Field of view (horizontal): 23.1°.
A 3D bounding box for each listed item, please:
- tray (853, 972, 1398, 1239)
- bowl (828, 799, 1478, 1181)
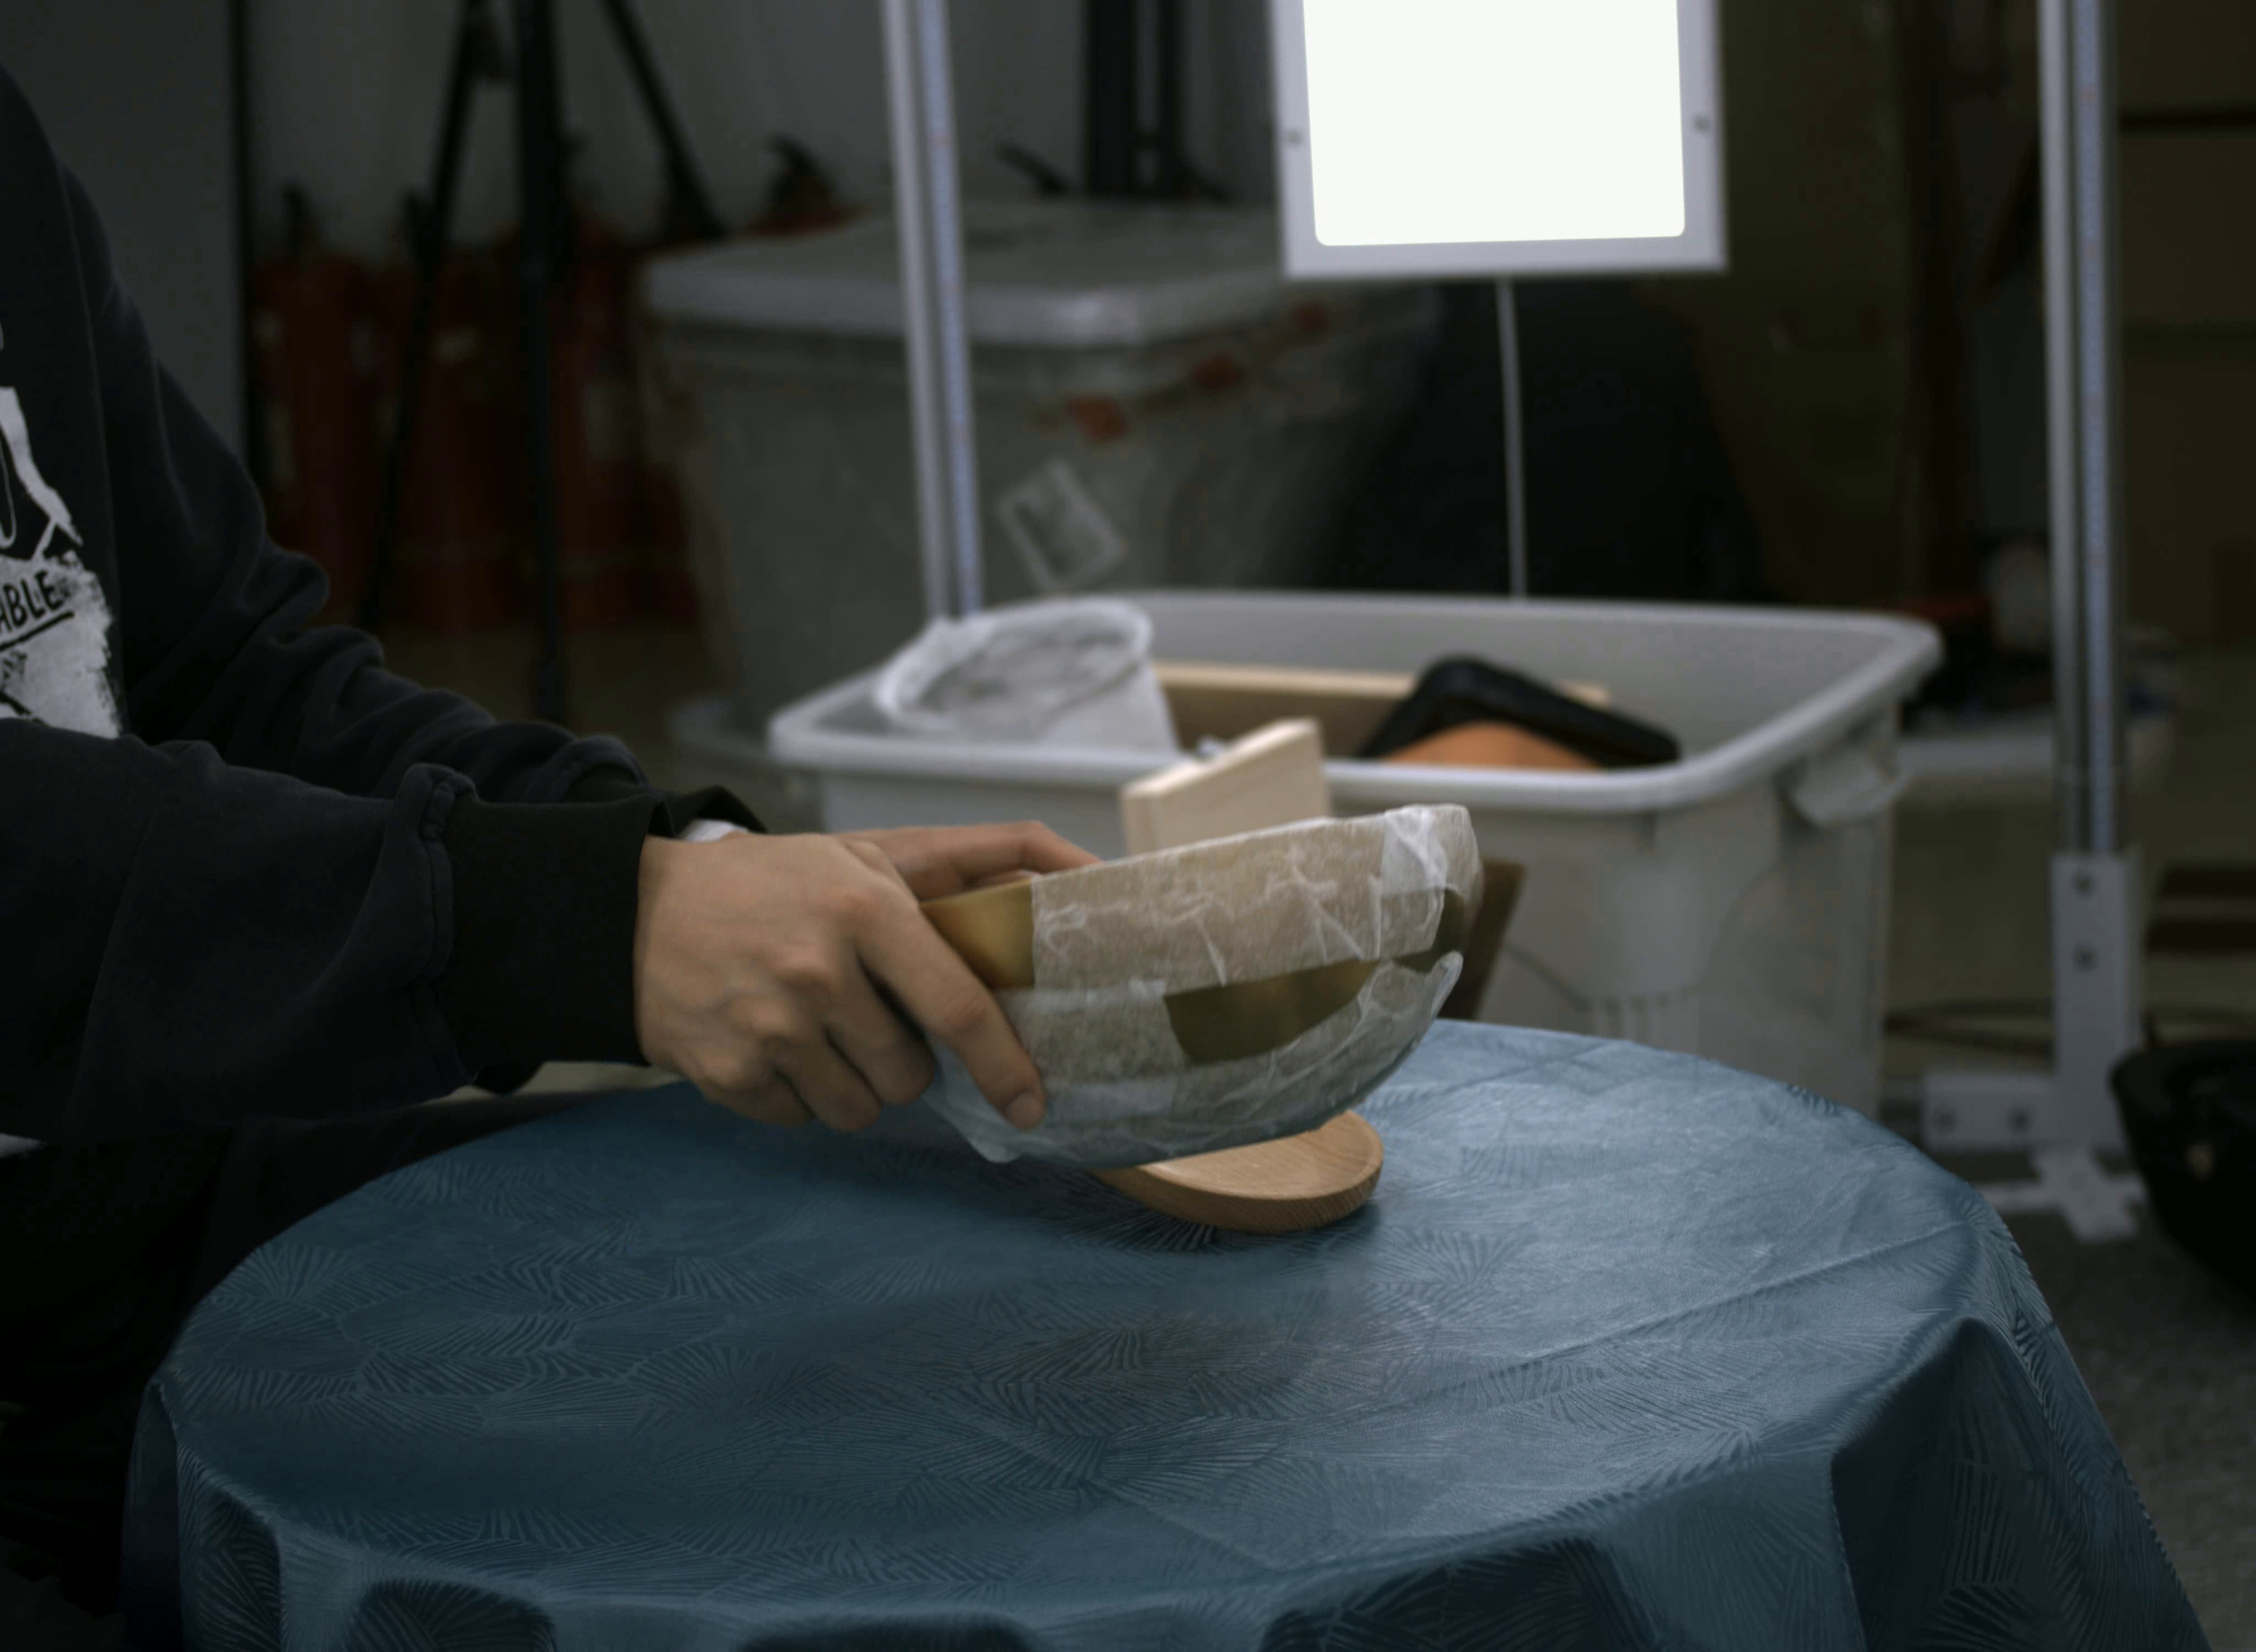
[{"bbox_3d":[-0.003,0.090,1.916,0.099,0.020,0.235,-16,32,-40],"label":"tray"},{"bbox_3d":[0.017,0.058,1.709,0.214,0.095,0.215,-12,-3,-2],"label":"bowl"}]
